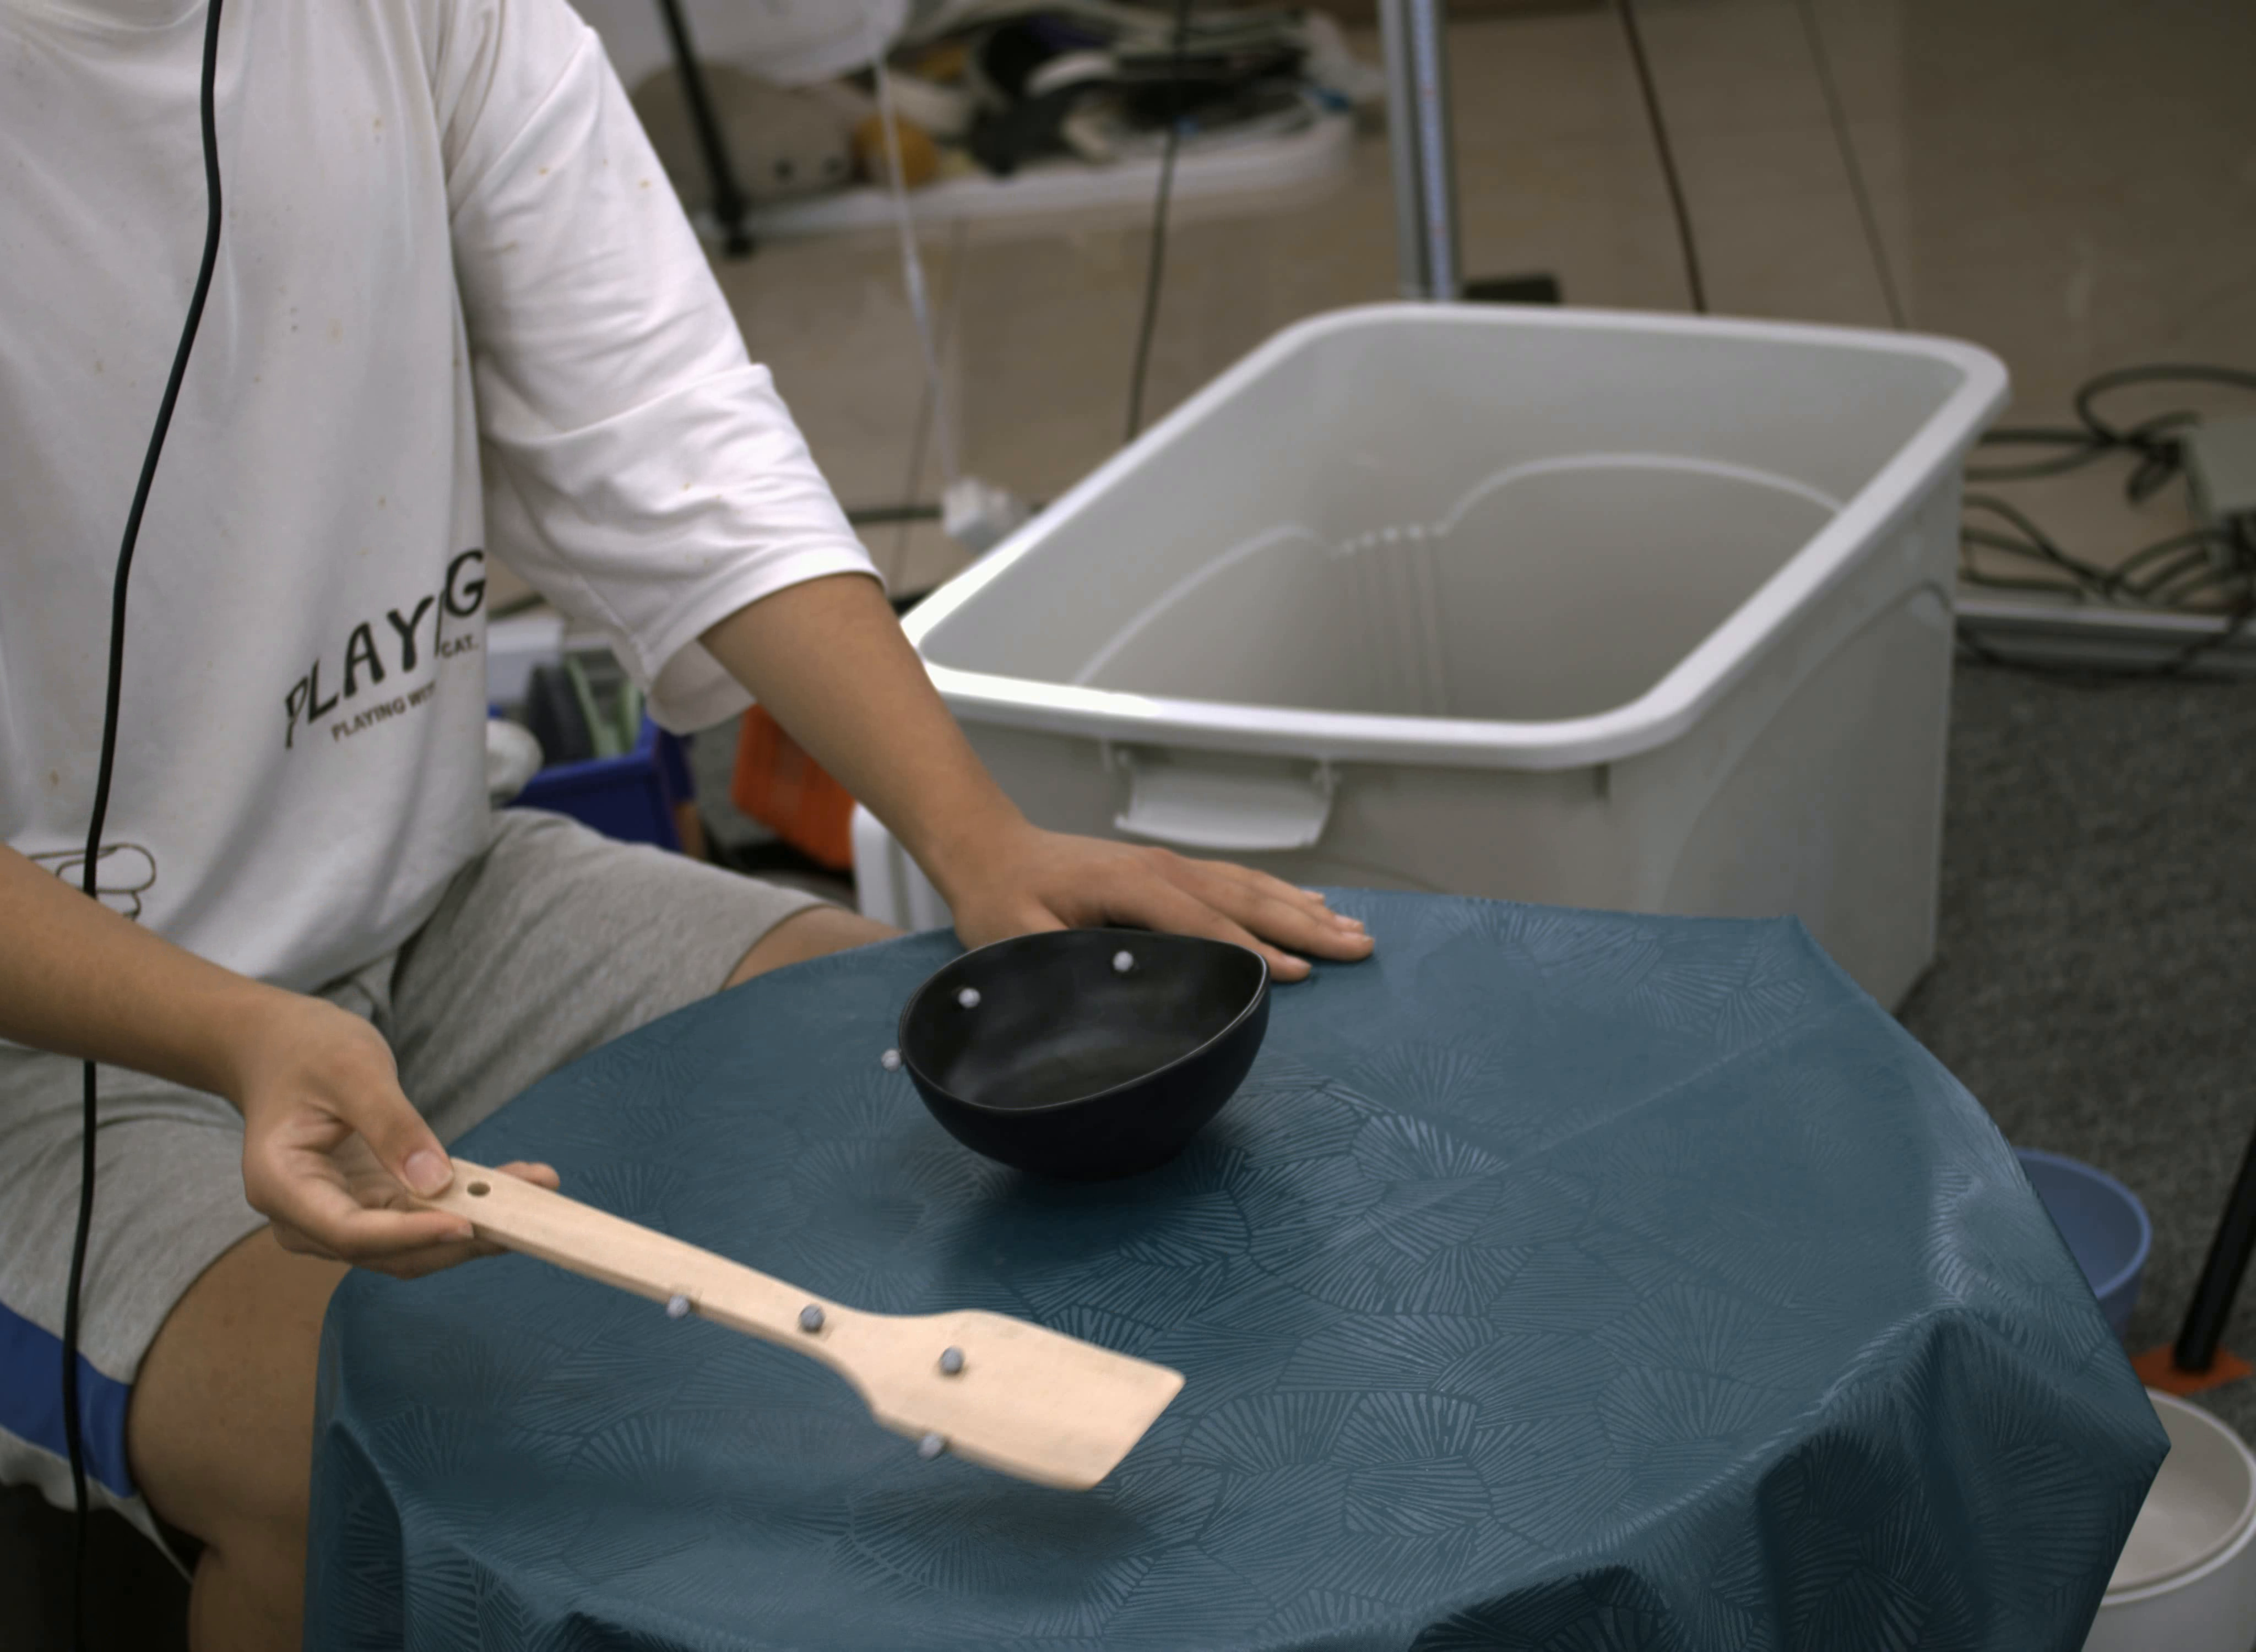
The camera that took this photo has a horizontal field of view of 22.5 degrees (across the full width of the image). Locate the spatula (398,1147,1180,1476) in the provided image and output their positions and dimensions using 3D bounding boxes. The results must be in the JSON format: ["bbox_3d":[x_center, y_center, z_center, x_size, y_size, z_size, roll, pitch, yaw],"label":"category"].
[{"bbox_3d":[-0.126,0.163,1.965,0.291,0.011,0.071,17,35,19],"label":"spatula"}]

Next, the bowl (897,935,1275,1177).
[{"bbox_3d":[-0.013,0.092,2.174,0.137,0.068,0.168,6,26,26],"label":"bowl"}]
